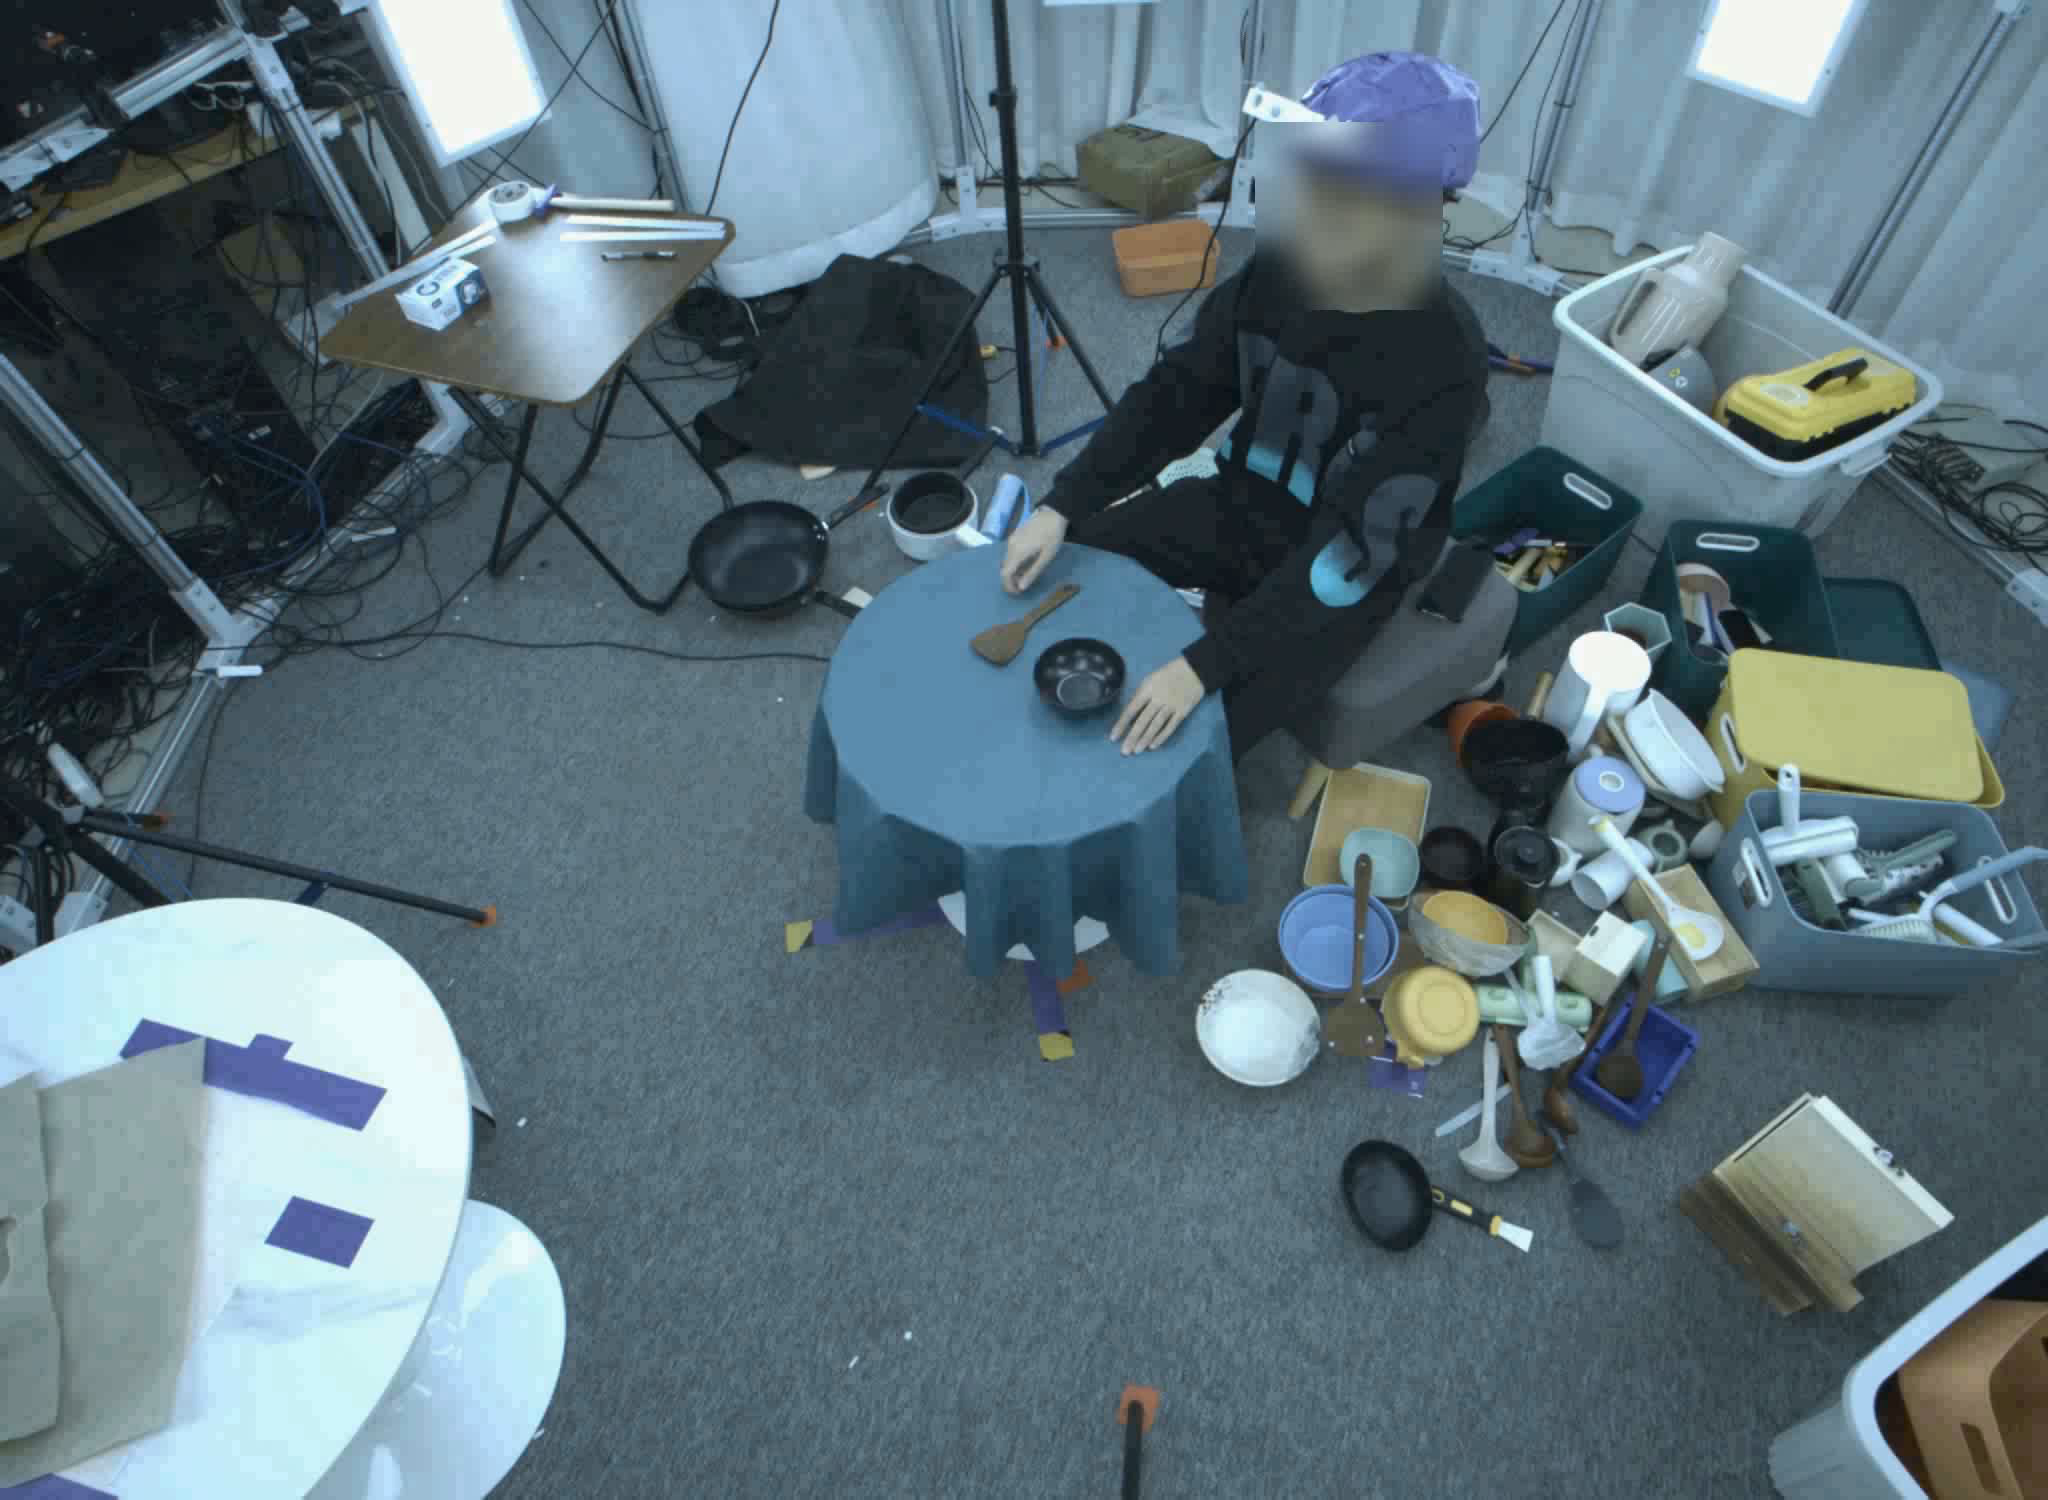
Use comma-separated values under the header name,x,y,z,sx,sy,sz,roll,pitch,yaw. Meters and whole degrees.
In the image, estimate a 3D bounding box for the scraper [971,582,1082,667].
name,x,y,z,sx,sy,sz,roll,pitch,yaw
scraper,0.012,-0.203,1.935,0.074,0.011,0.213,39,64,24

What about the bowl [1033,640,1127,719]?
name,x,y,z,sx,sy,sz,roll,pitch,yaw
bowl,0.085,-0.096,1.832,0.139,0.050,0.138,-2,54,4
